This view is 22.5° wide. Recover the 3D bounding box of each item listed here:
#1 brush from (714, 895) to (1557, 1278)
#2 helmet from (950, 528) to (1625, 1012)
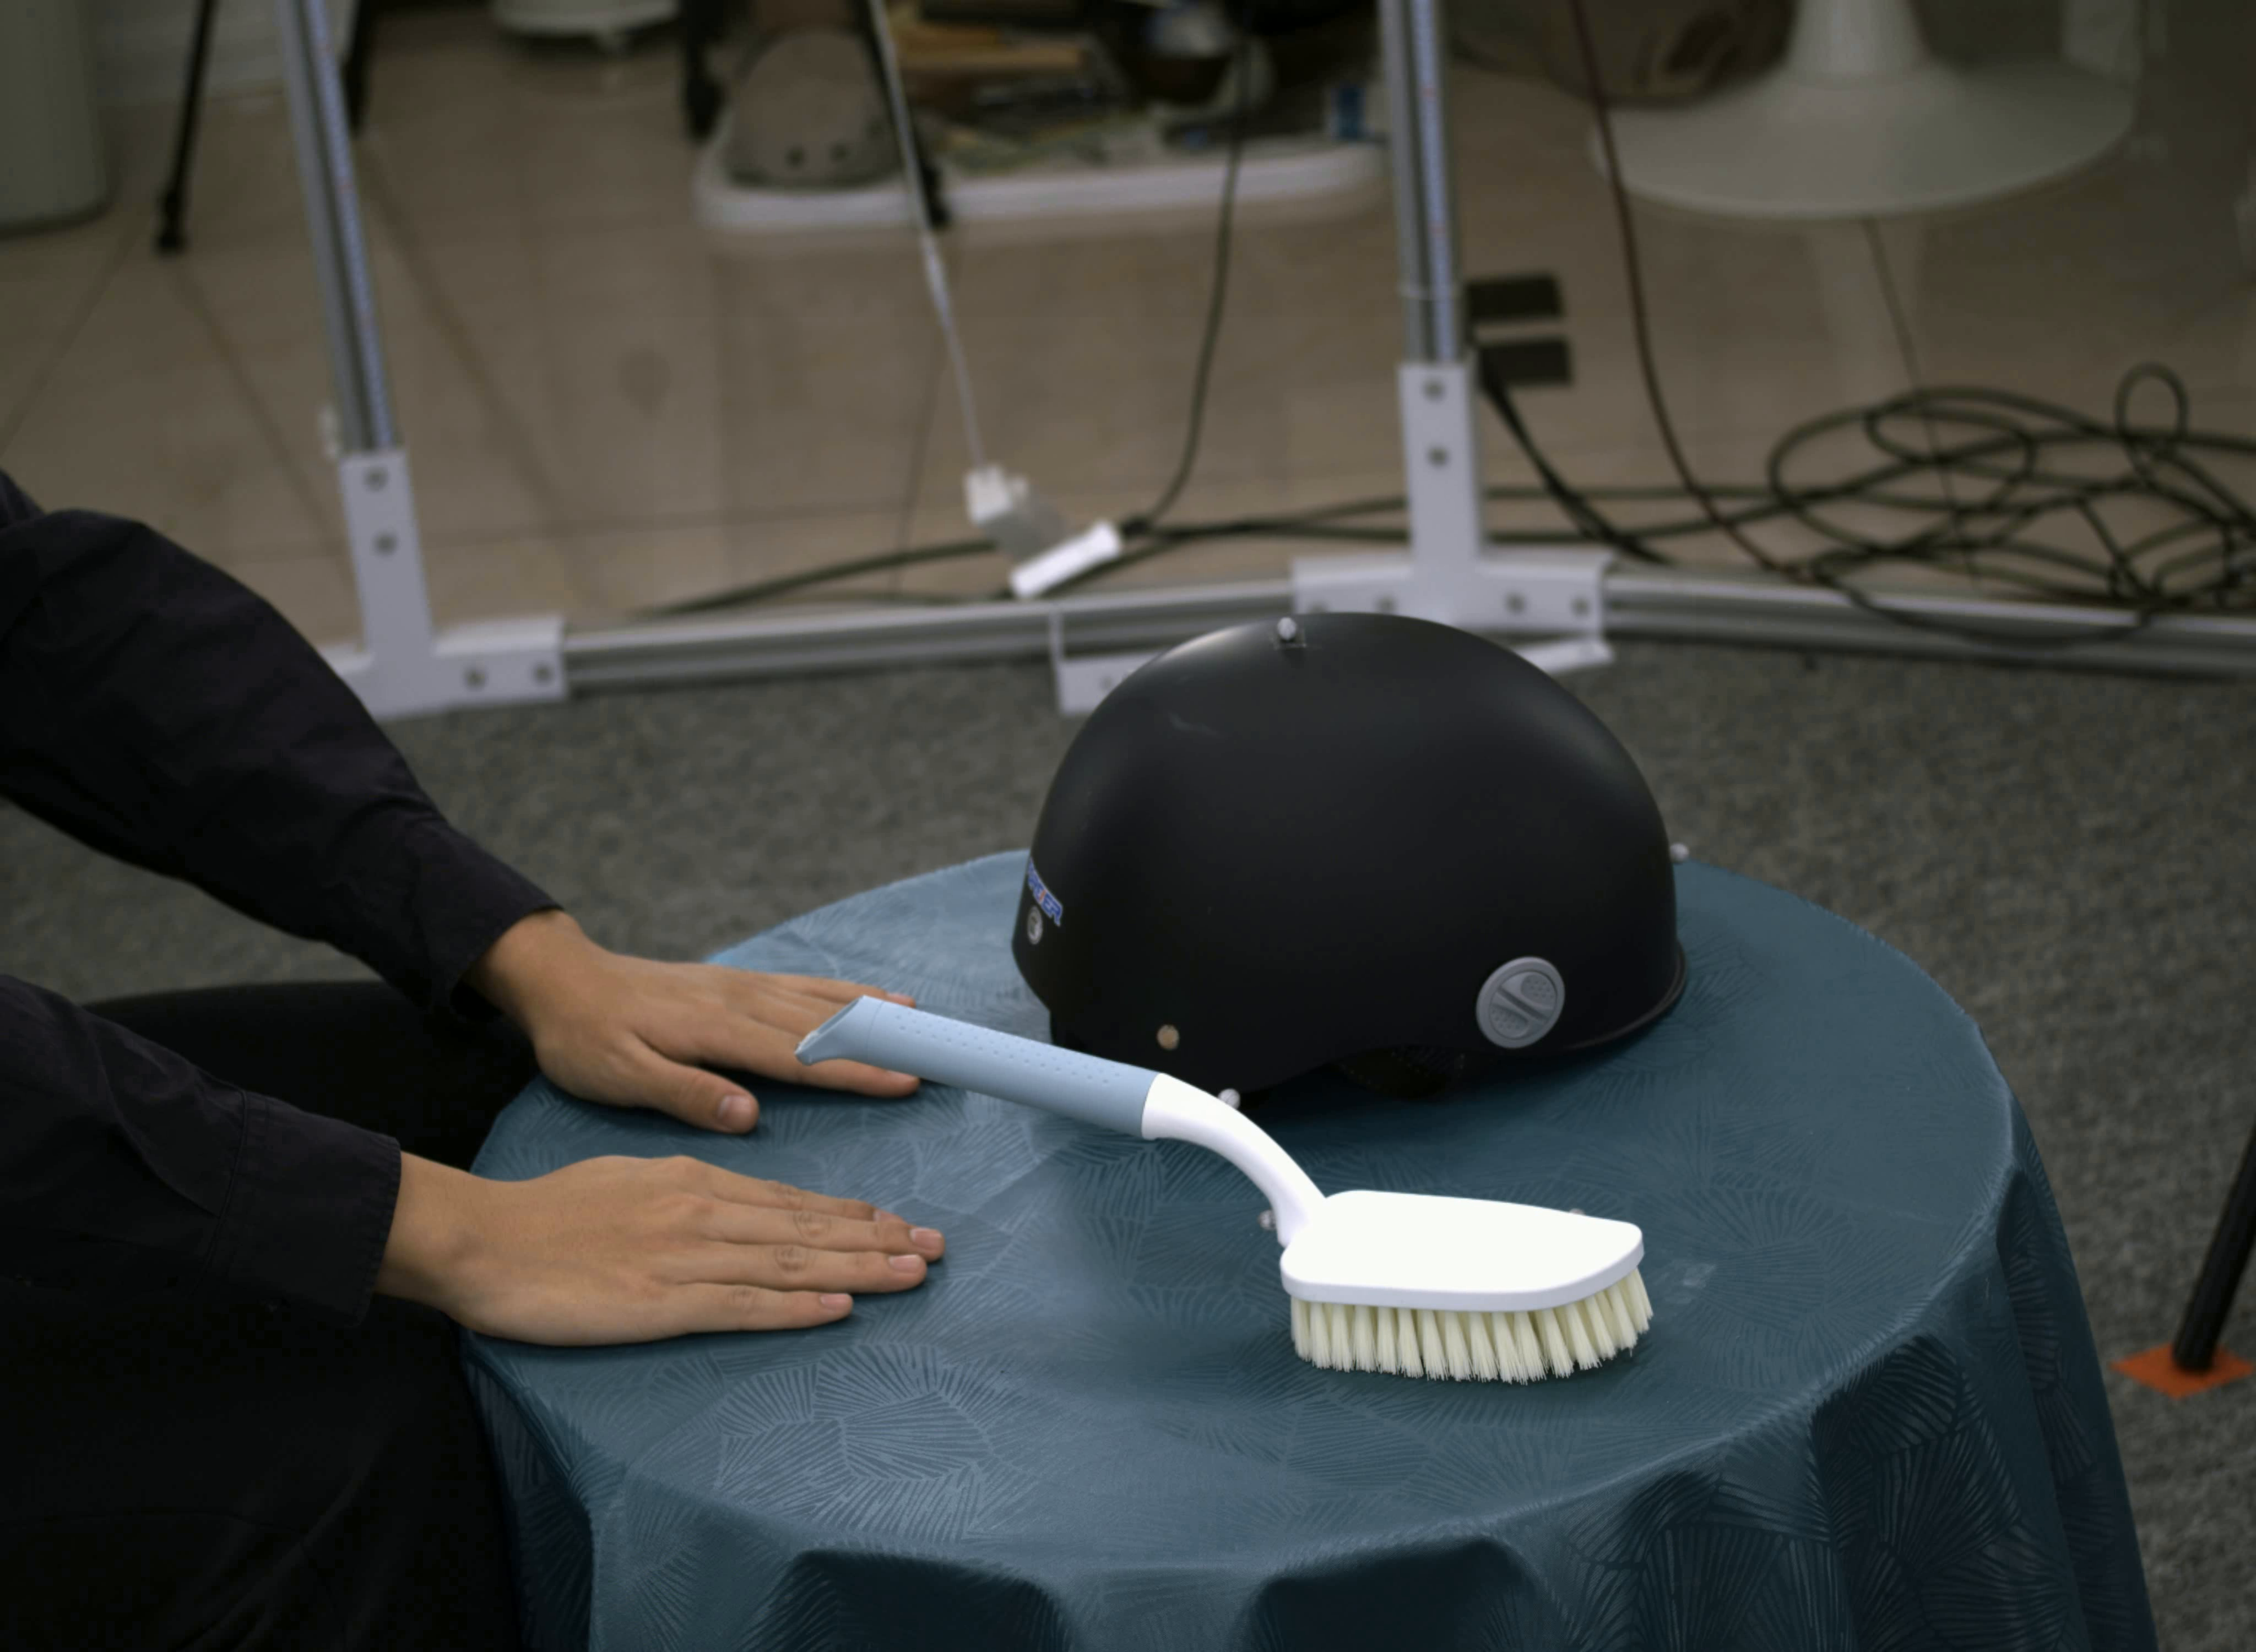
[{"bbox_3d":[-0.001,0.105,2.068,0.324,0.084,0.083,15,-6,14],"label":"brush"},{"bbox_3d":[0.062,-0.034,2.259,0.272,0.169,0.226,-8,27,-8],"label":"helmet"}]
